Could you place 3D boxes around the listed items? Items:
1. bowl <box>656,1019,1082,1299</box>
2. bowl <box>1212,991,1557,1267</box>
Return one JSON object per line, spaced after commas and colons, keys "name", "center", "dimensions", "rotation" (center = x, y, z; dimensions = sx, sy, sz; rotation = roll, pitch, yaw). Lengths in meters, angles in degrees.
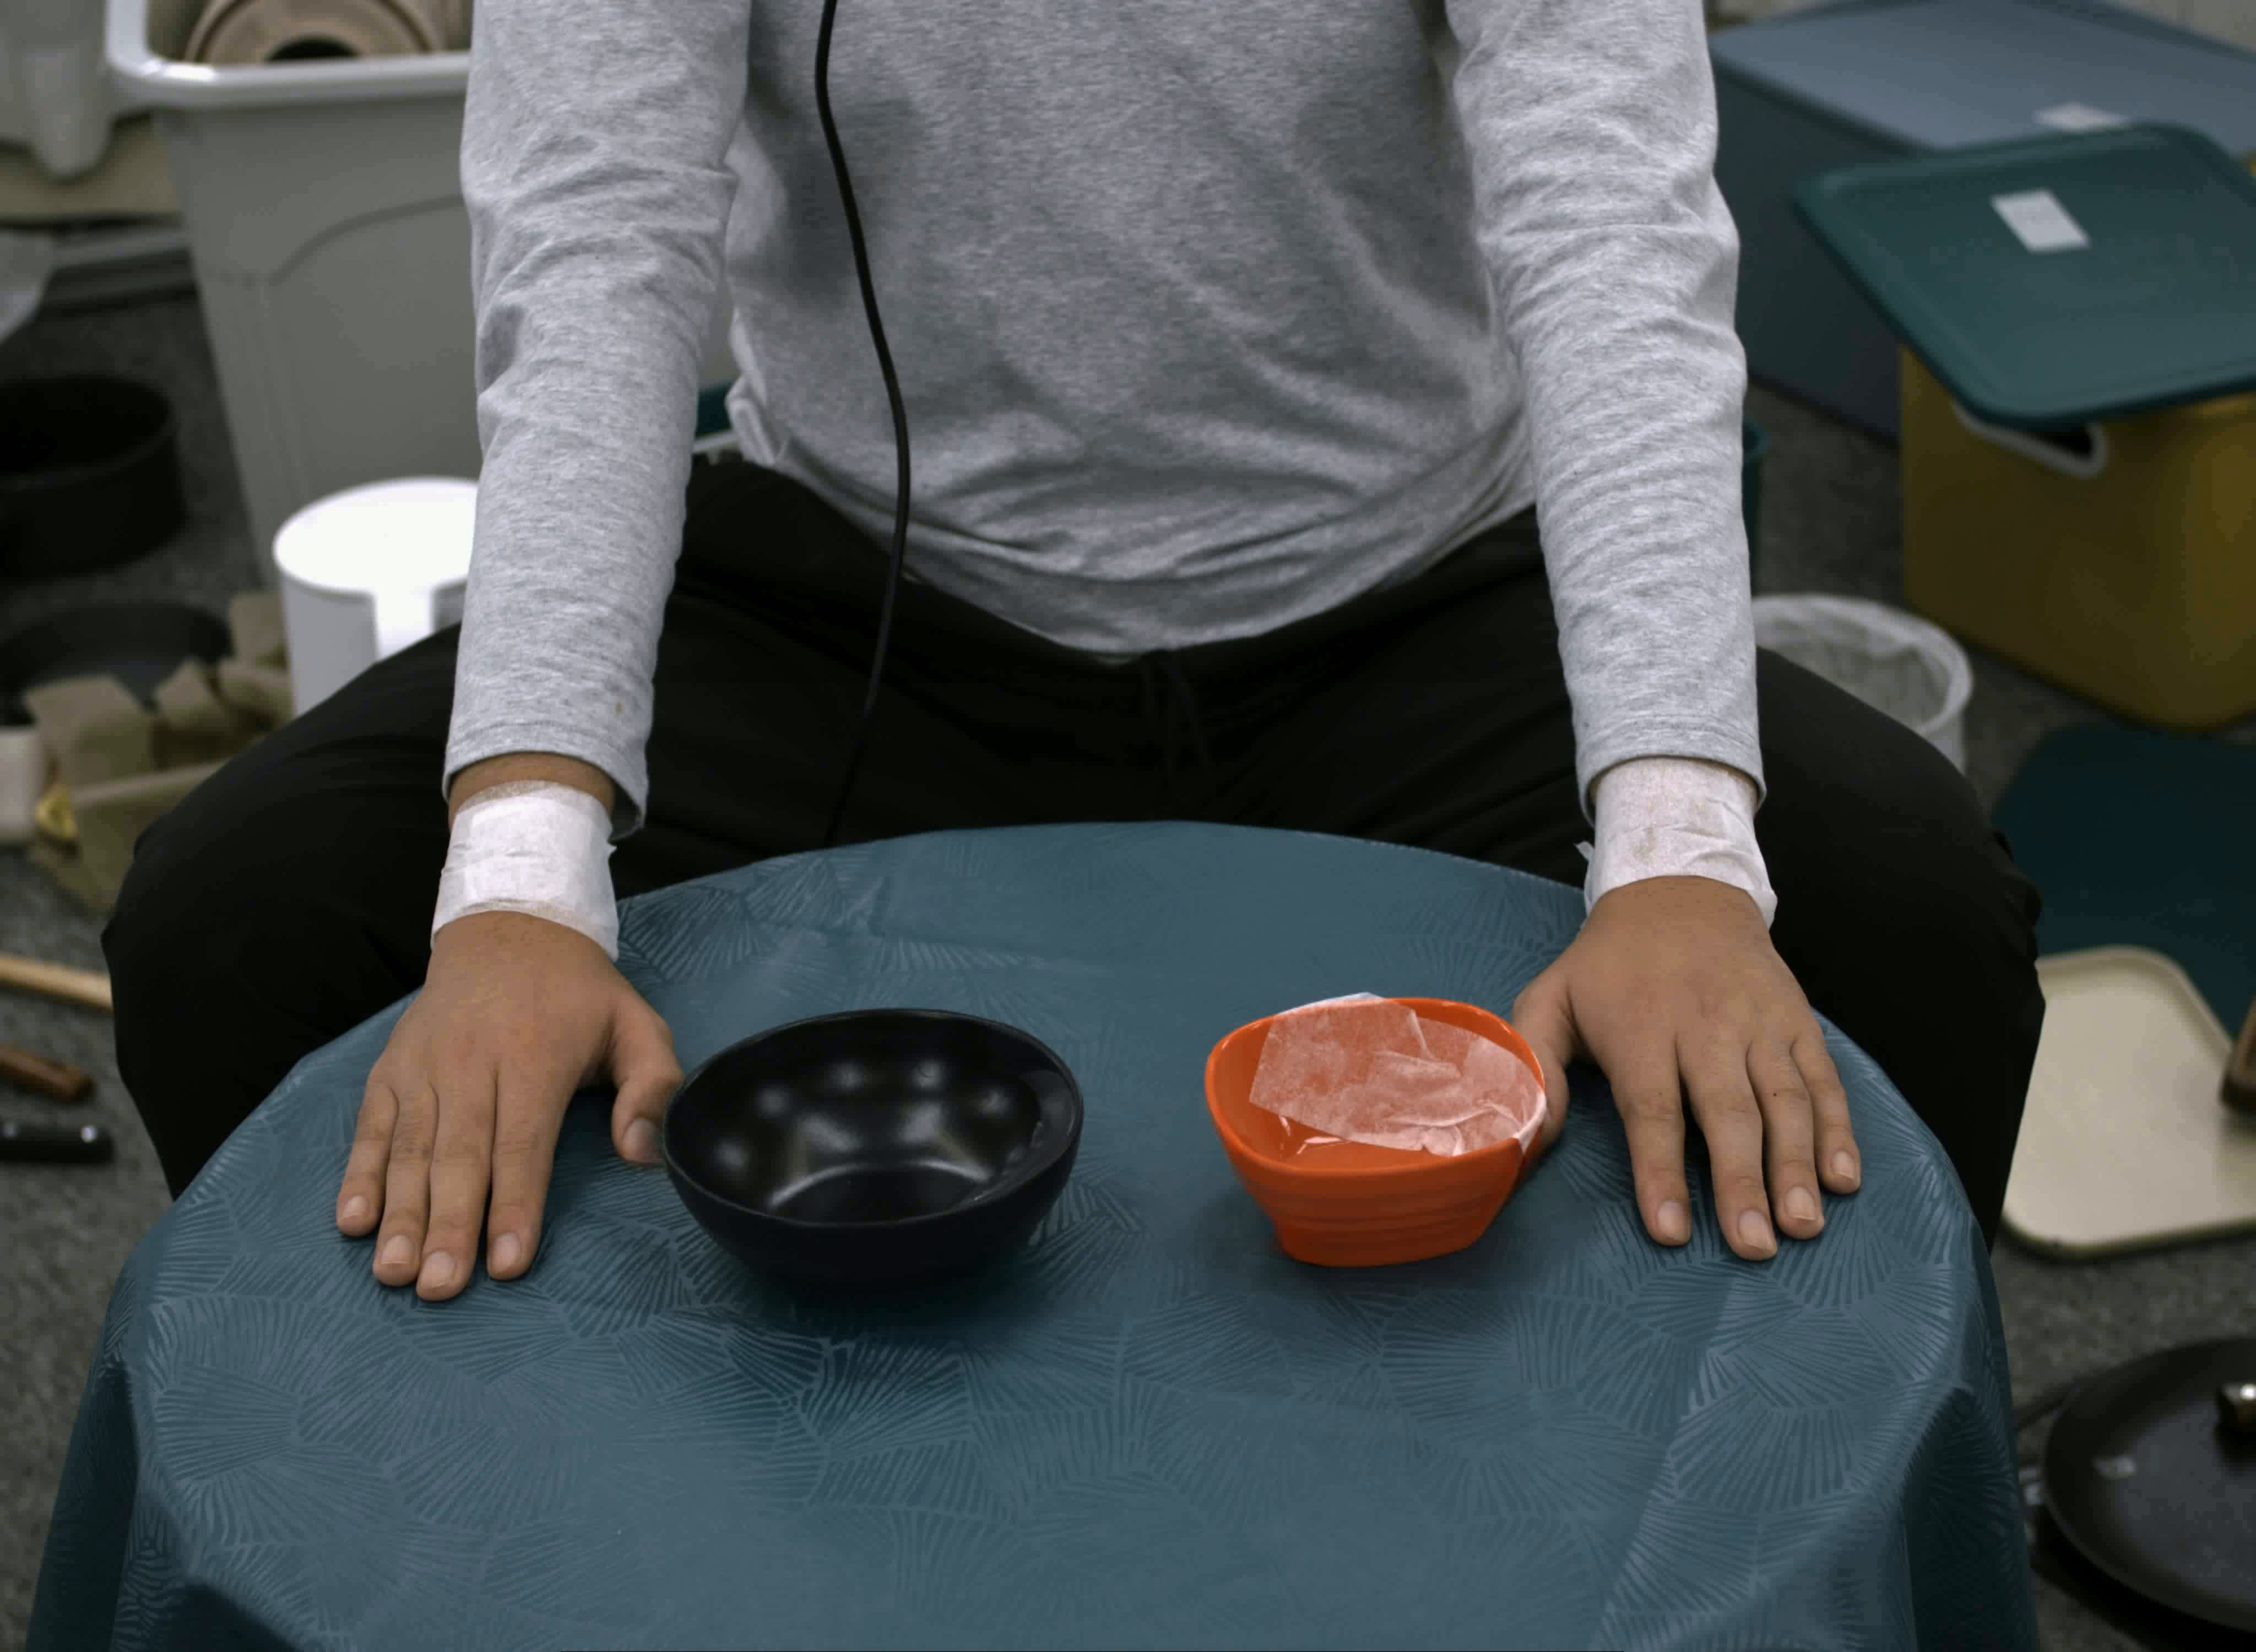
{"name": "bowl", "center": [-0.083, 0.116, 1.831], "dimensions": [0.139, 0.049, 0.142], "rotation": [-1, 24, 1]}
{"name": "bowl", "center": [0.084, 0.103, 1.831], "dimensions": [0.118, 0.051, 0.121], "rotation": [-3, 29, 2]}
